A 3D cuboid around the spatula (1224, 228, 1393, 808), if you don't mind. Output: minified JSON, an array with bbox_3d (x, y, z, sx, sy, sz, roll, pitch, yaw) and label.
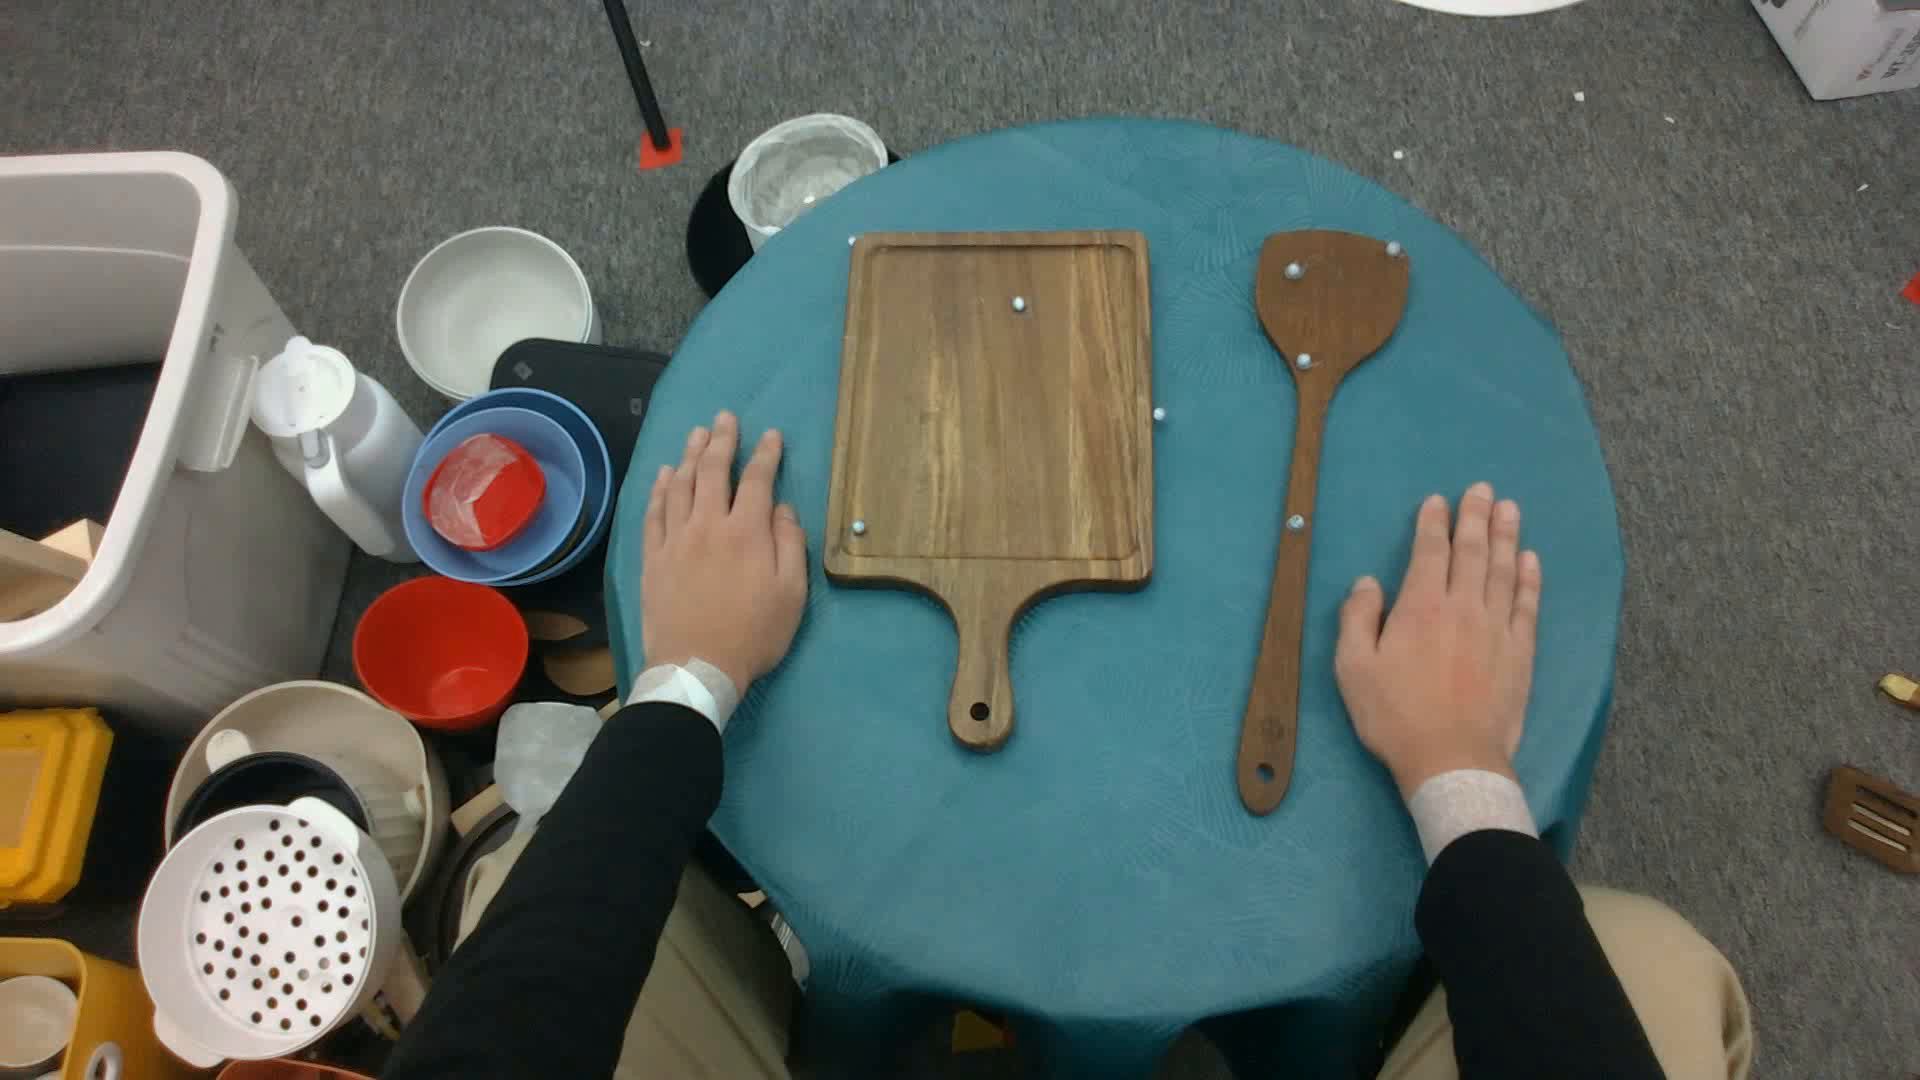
[{"bbox_3d":[0.195,-0.029,0.821,0.096,0.016,0.387,9,66,8],"label":"spatula"}]

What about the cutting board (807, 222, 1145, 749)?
[{"bbox_3d":[0.009,-0.046,0.836,0.201,0.023,0.353,0,64,4],"label":"cutting board"}]
